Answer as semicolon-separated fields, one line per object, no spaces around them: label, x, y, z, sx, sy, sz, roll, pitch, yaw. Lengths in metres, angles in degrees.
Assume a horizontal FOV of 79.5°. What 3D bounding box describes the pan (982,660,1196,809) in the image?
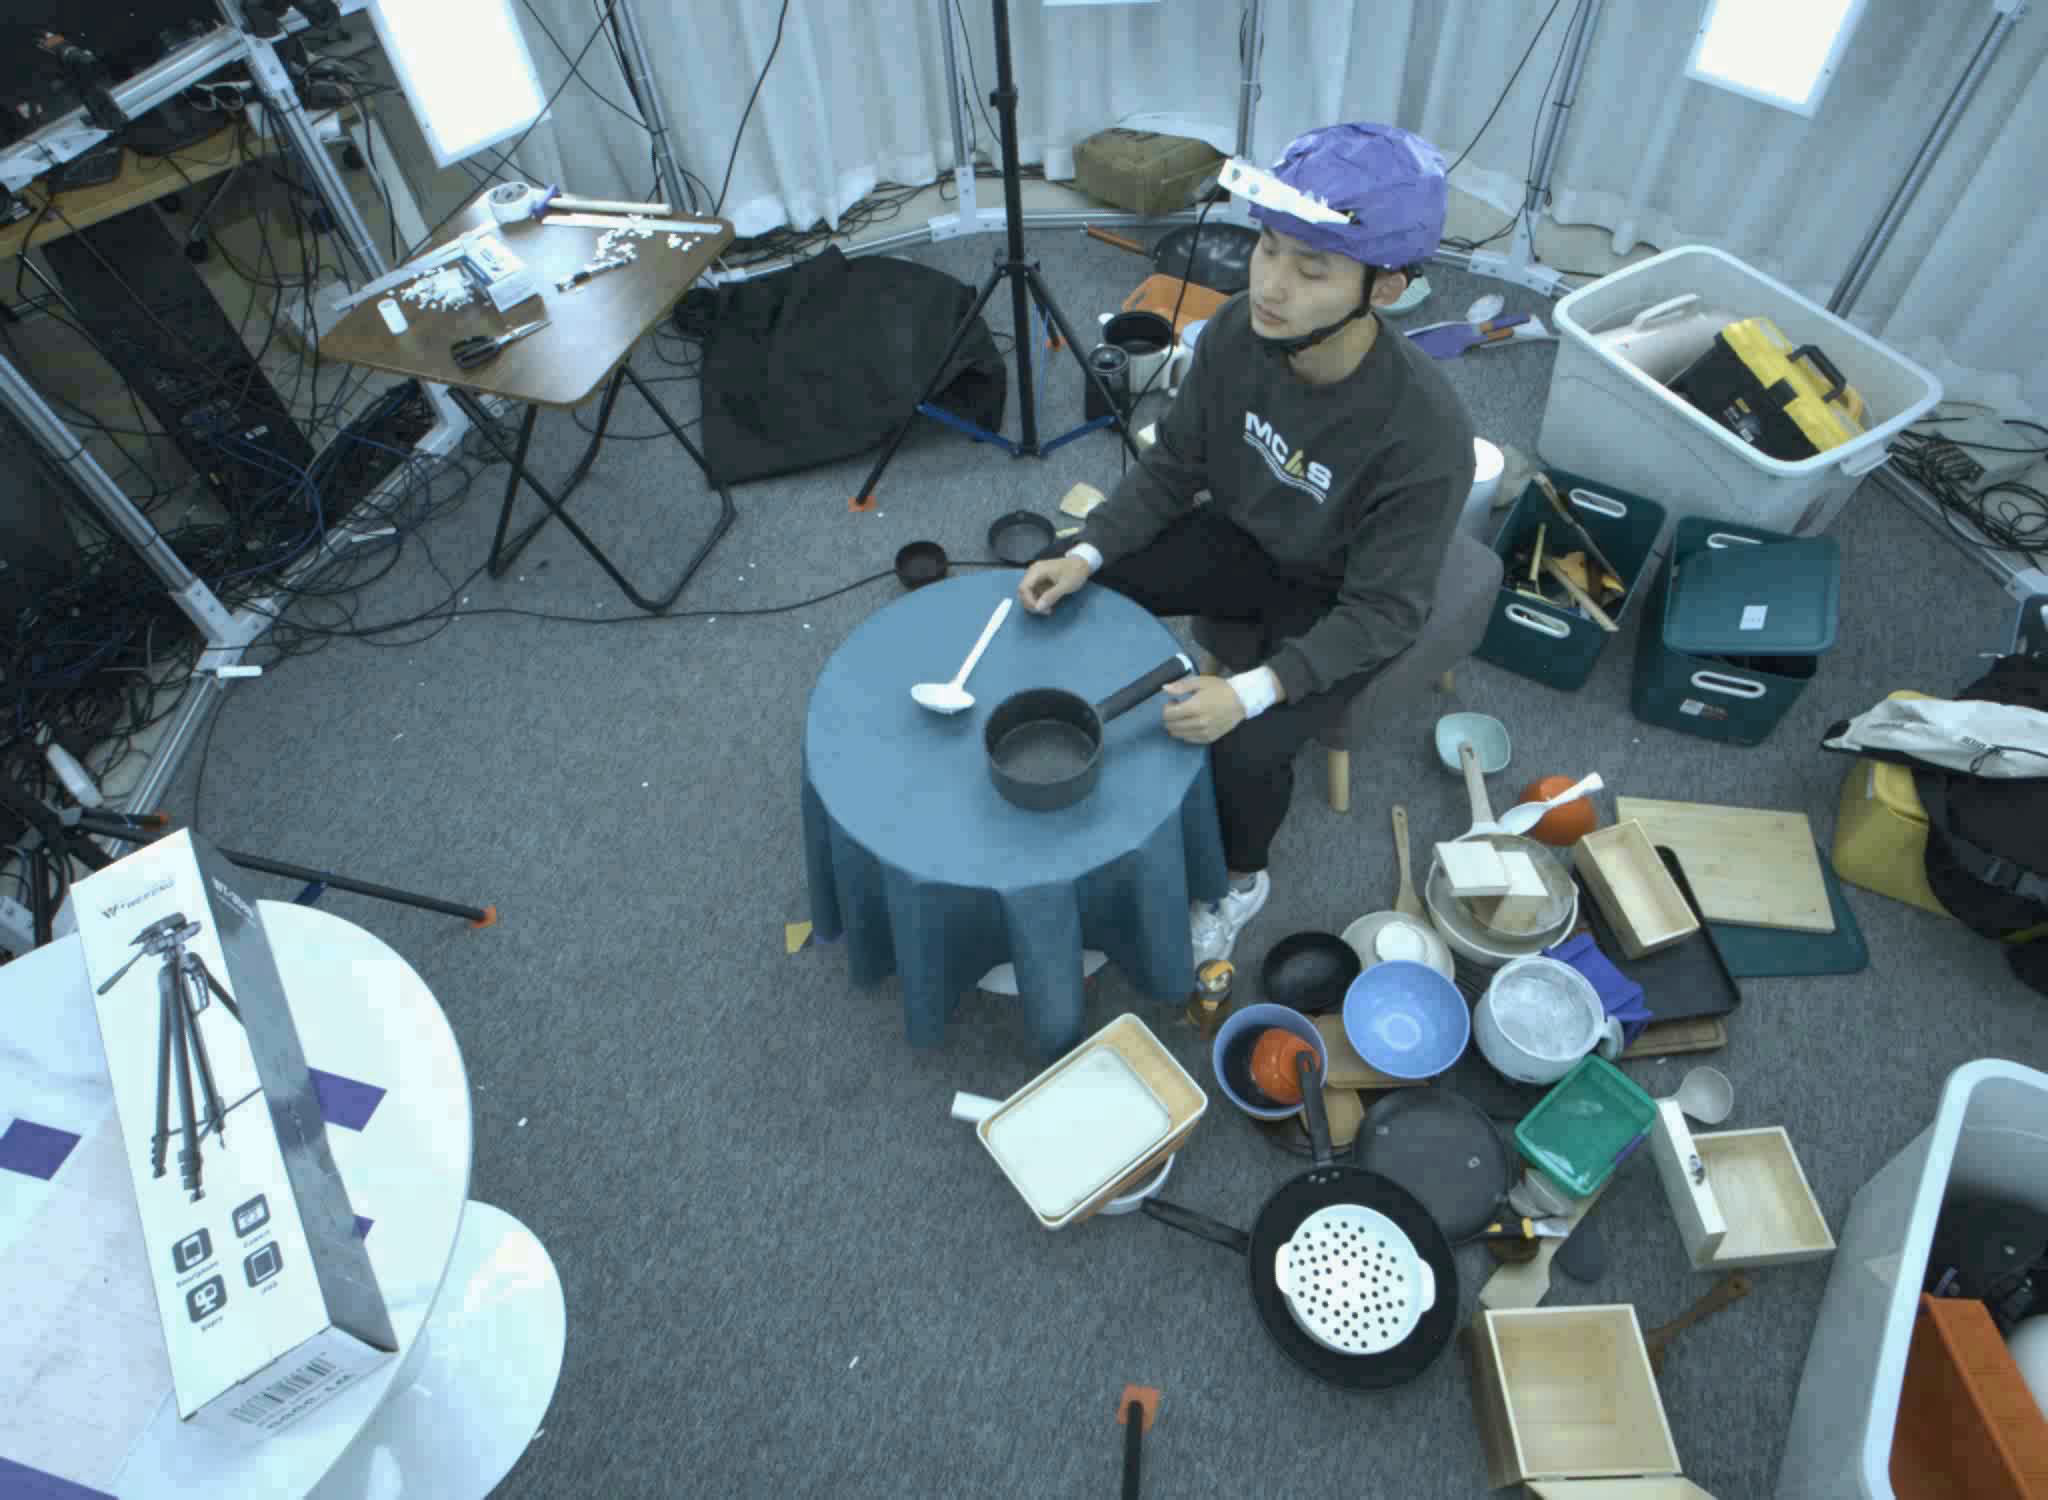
pan;0.098;-0.035;1.766;0.331;0.087;0.169;-24;58;-14

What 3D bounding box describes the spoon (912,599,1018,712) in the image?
spoon;-0.073;-0.152;1.871;0.099;0.060;0.278;23;58;14
